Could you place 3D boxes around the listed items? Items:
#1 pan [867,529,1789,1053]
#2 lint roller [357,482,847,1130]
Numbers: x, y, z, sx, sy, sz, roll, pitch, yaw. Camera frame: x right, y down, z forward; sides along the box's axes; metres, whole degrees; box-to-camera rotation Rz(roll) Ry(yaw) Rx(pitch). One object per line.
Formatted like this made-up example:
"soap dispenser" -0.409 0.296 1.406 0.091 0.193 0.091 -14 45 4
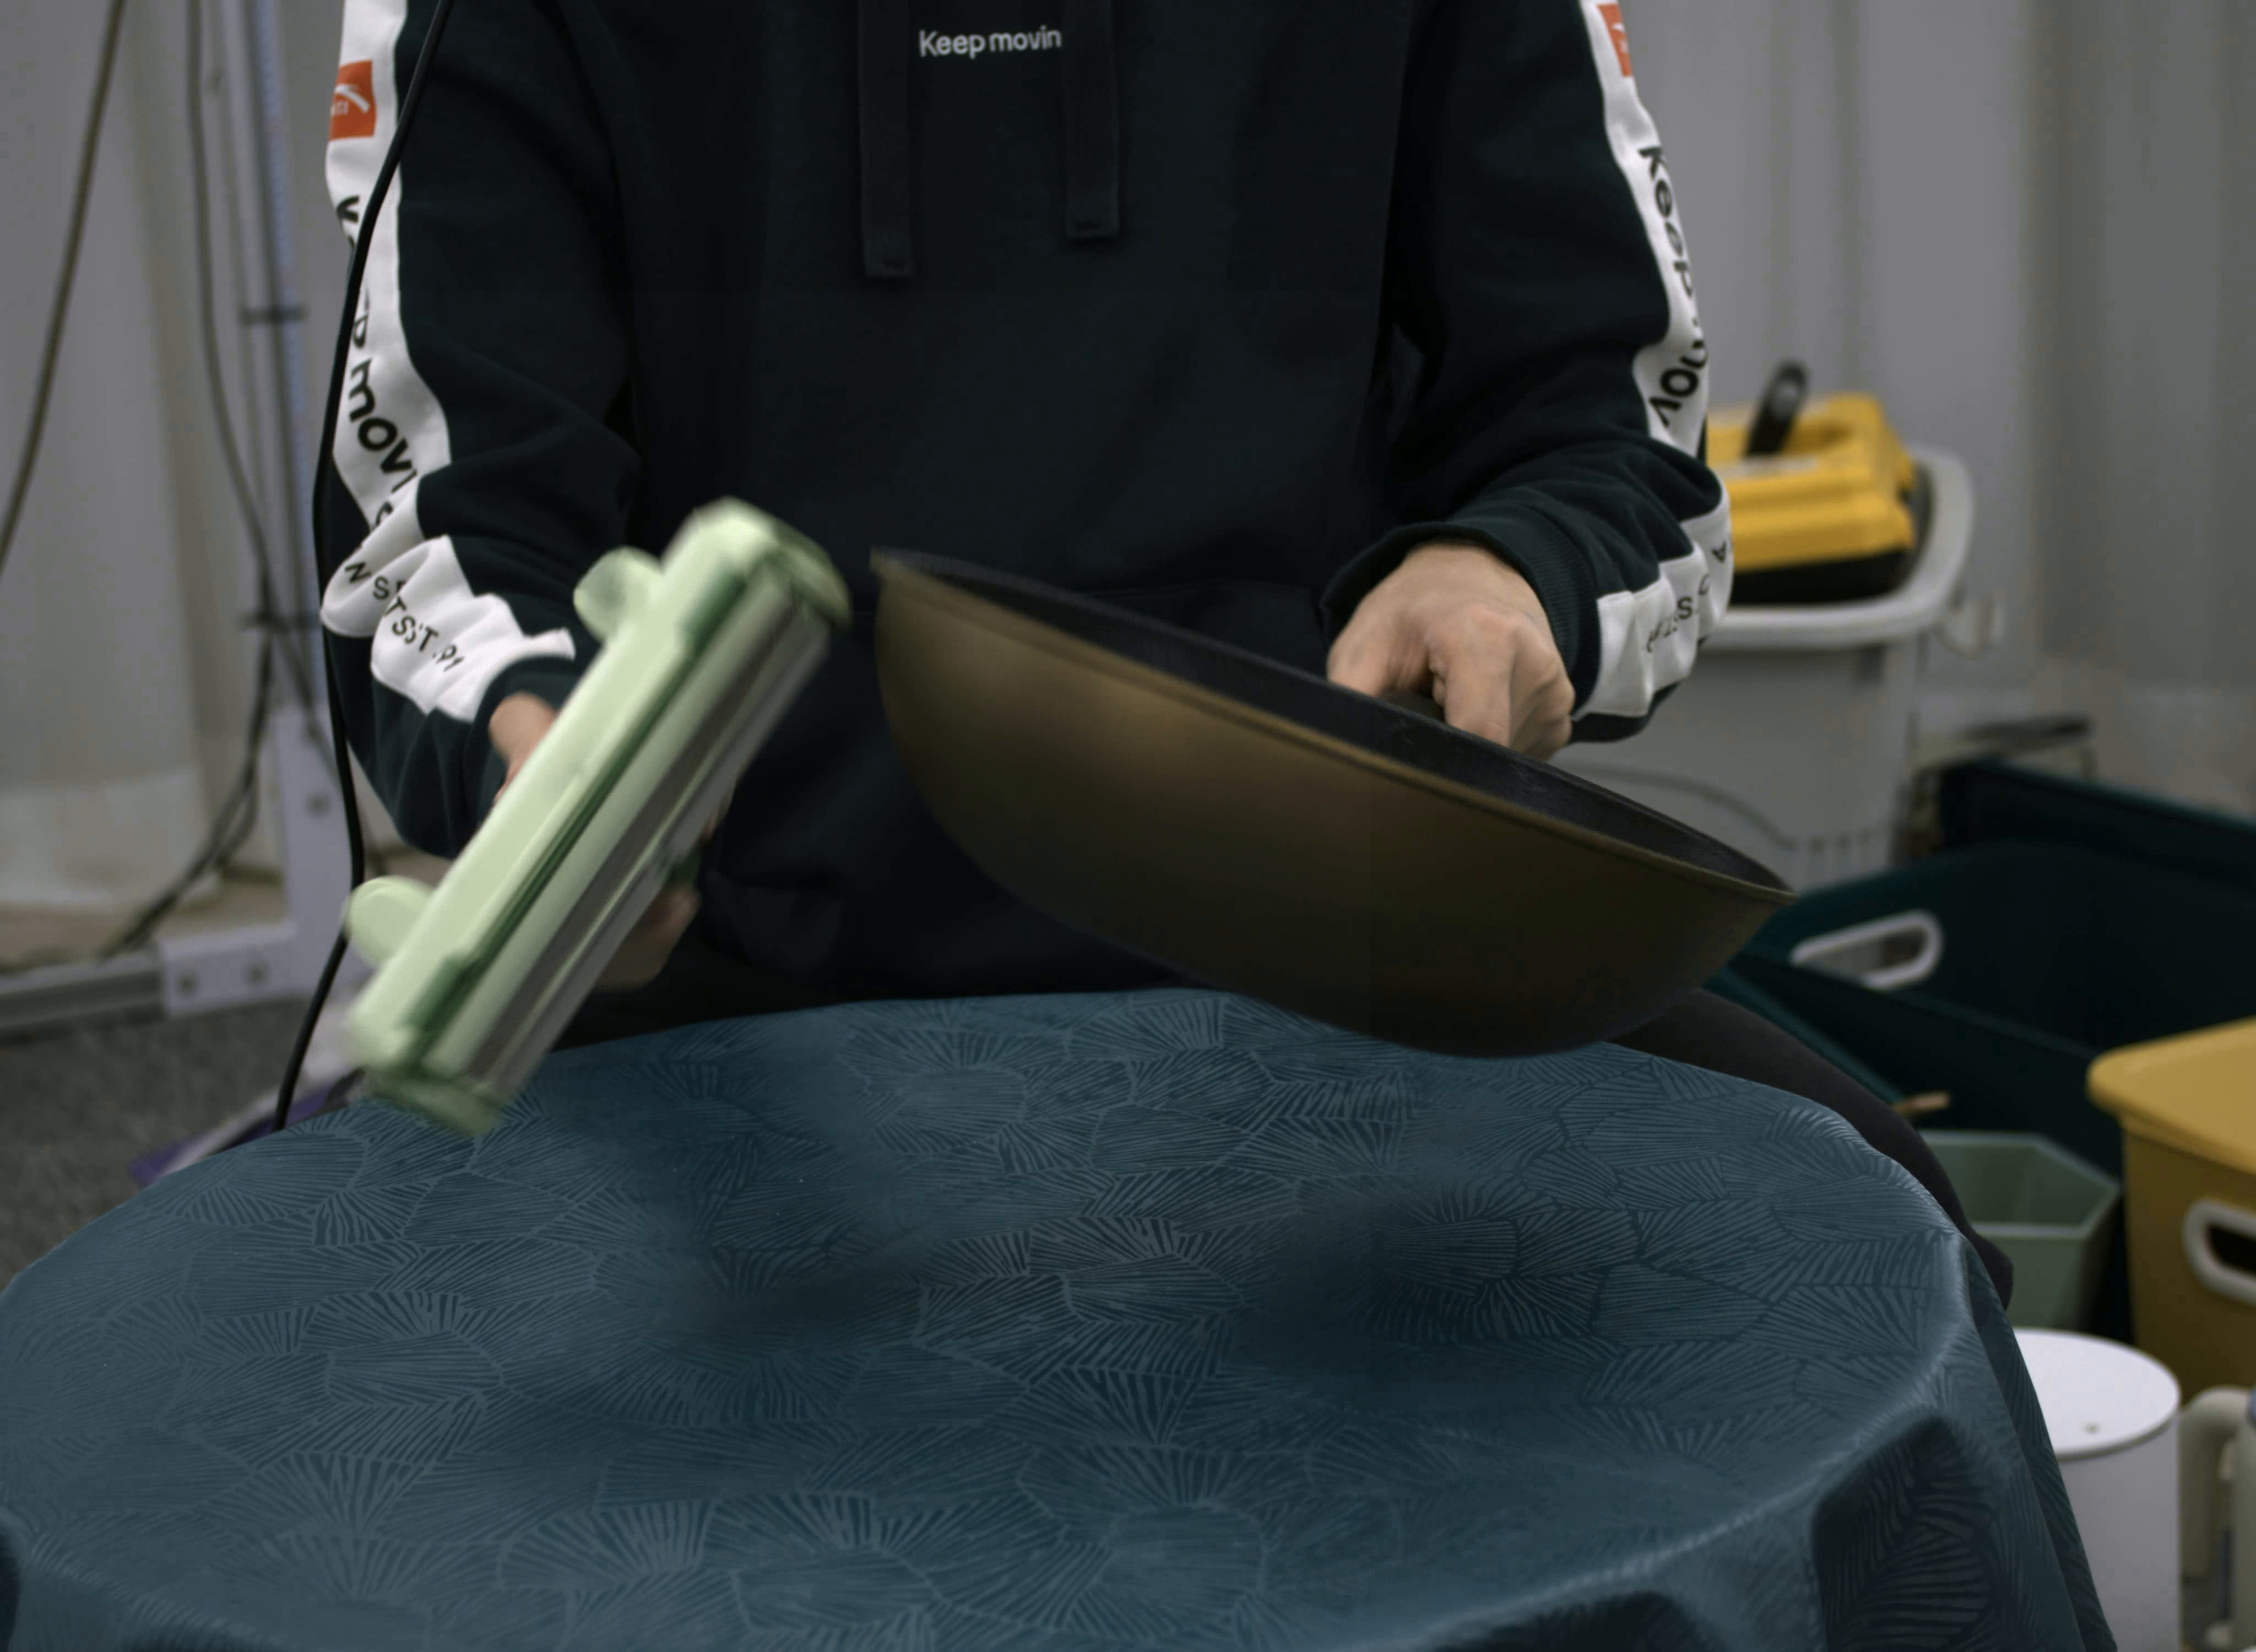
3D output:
"pan" 0.060 -0.001 1.677 0.288 0.087 0.462 21 4 9
"lint roller" -0.163 -0.008 1.638 0.082 0.199 0.183 32 -6 -5
